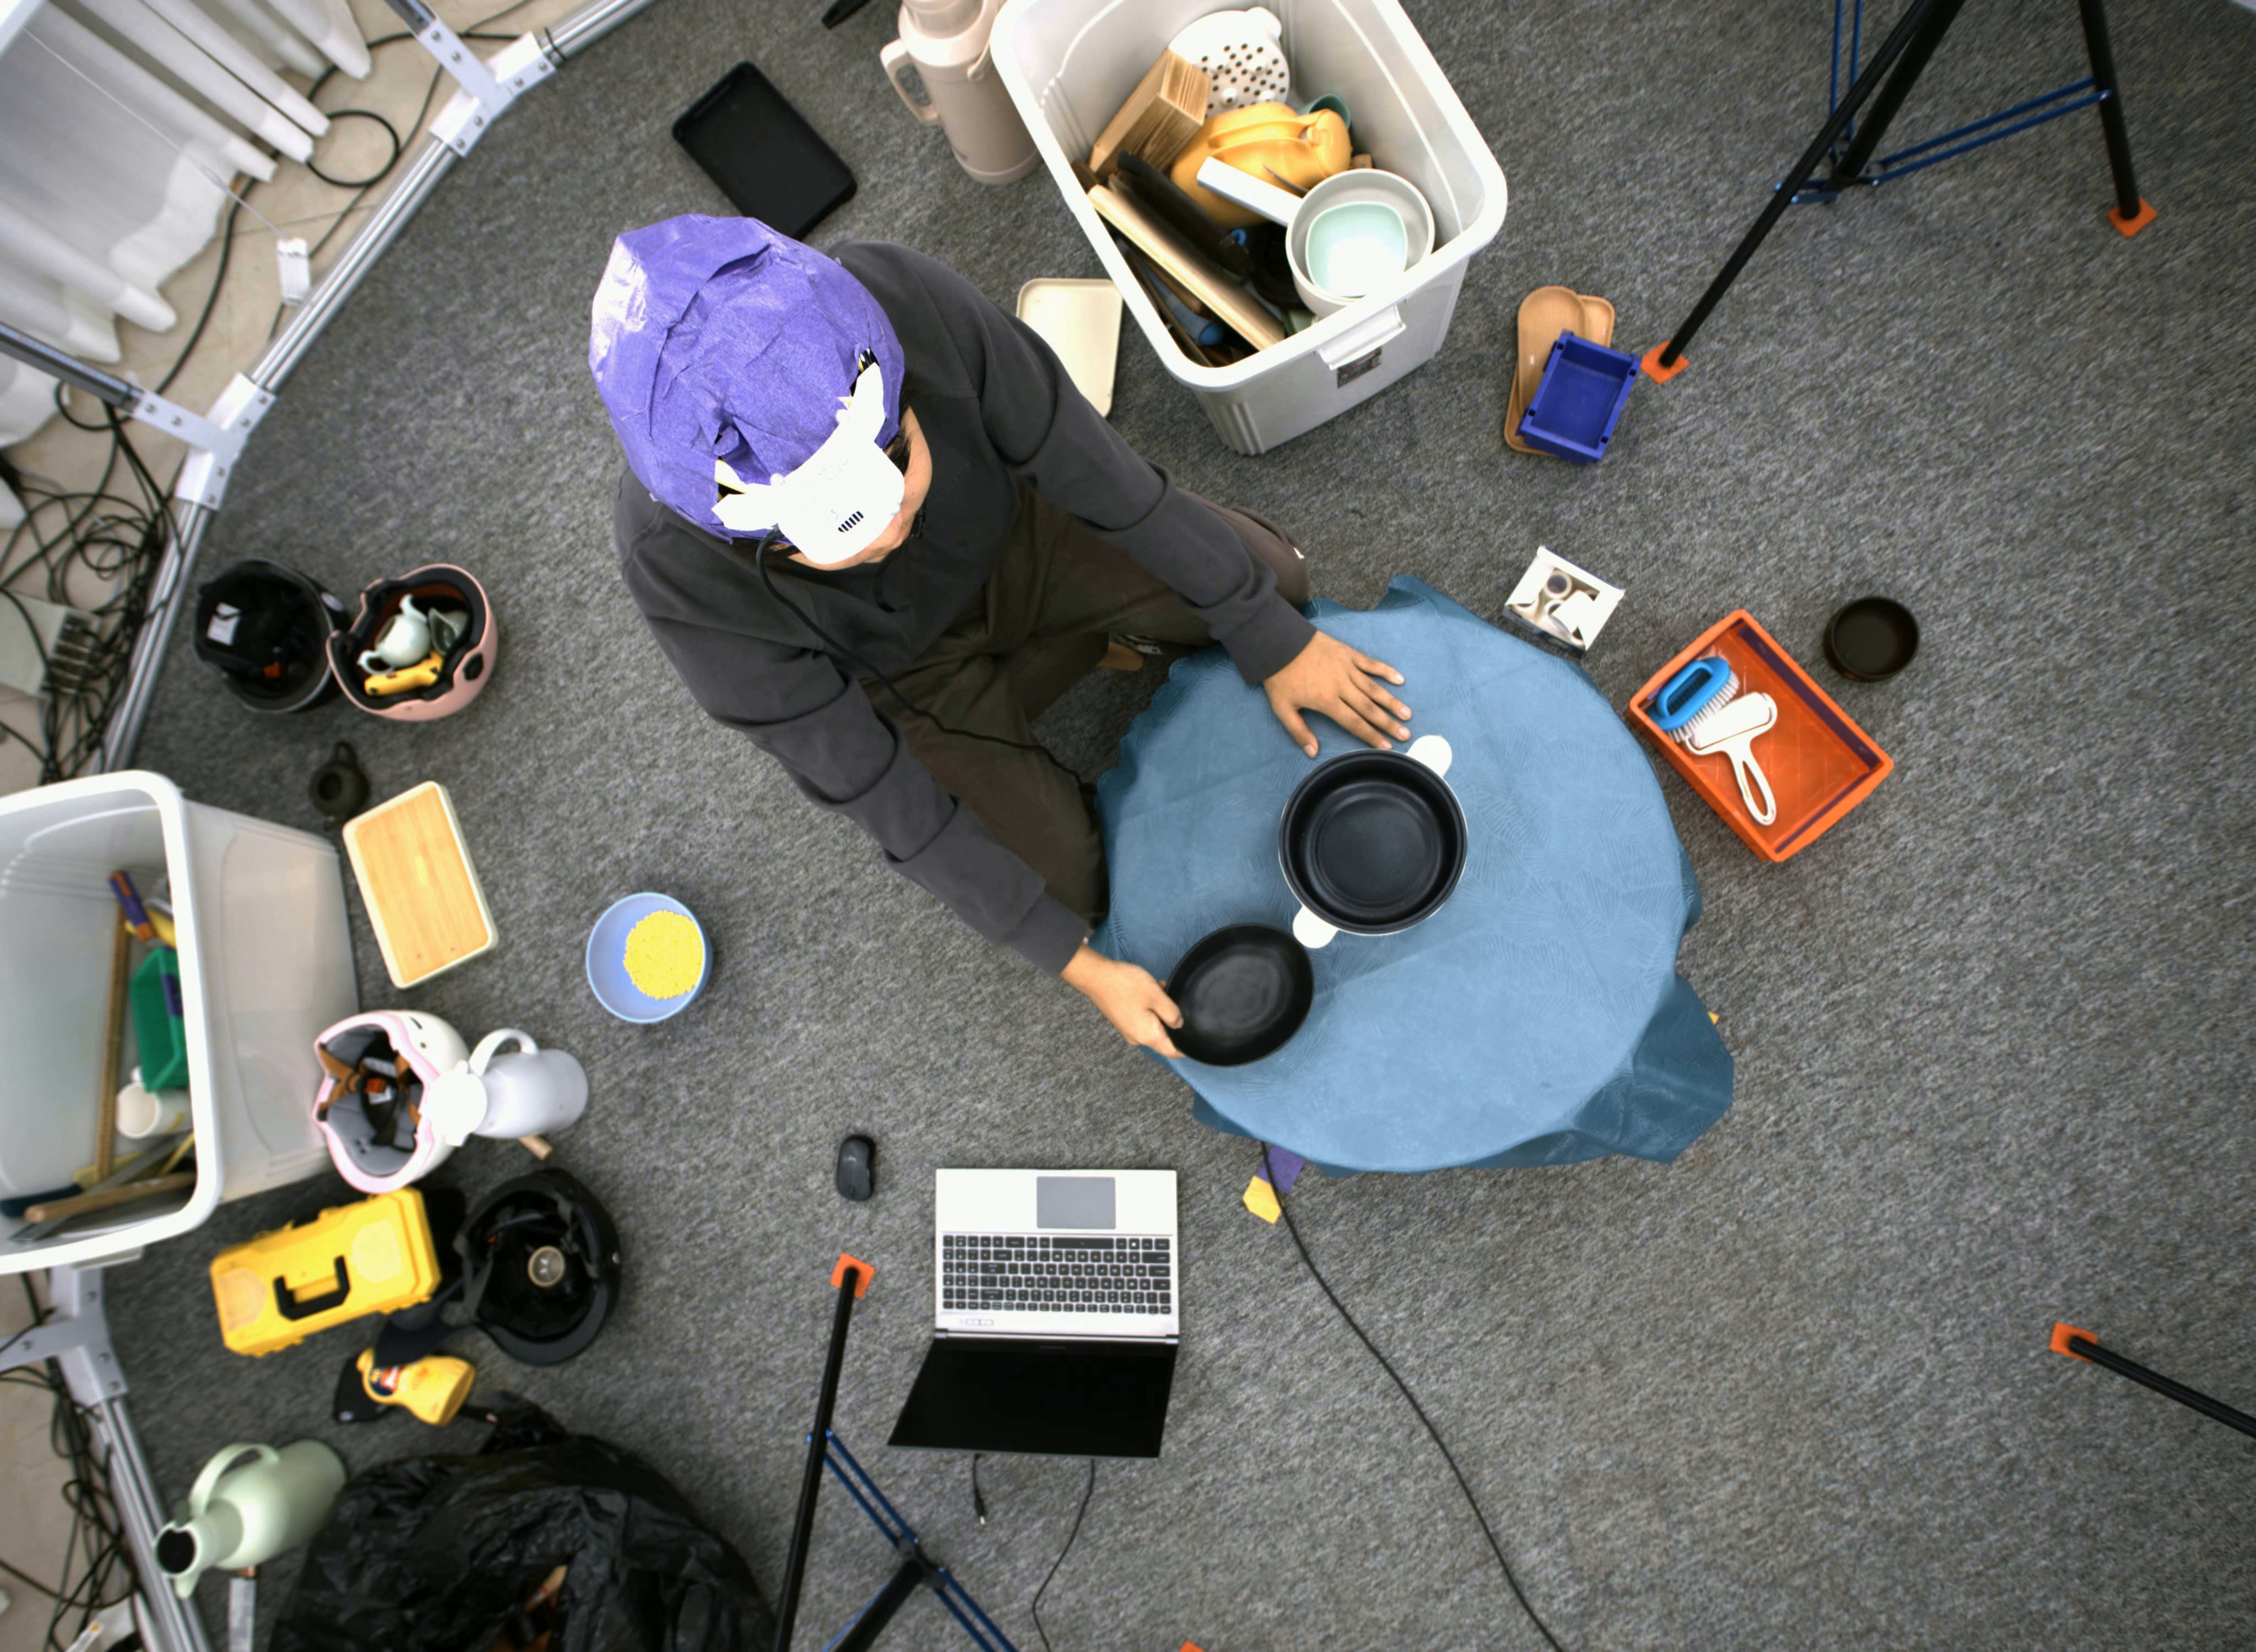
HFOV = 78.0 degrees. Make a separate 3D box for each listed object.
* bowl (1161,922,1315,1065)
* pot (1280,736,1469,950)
[{"bbox_3d":[0.117,0.176,1.451,0.171,0.066,0.136,-37,80,8],"label":"bowl"},{"bbox_3d":[0.243,0.020,1.399,0.190,0.143,0.240,33,91,8],"label":"pot"}]
